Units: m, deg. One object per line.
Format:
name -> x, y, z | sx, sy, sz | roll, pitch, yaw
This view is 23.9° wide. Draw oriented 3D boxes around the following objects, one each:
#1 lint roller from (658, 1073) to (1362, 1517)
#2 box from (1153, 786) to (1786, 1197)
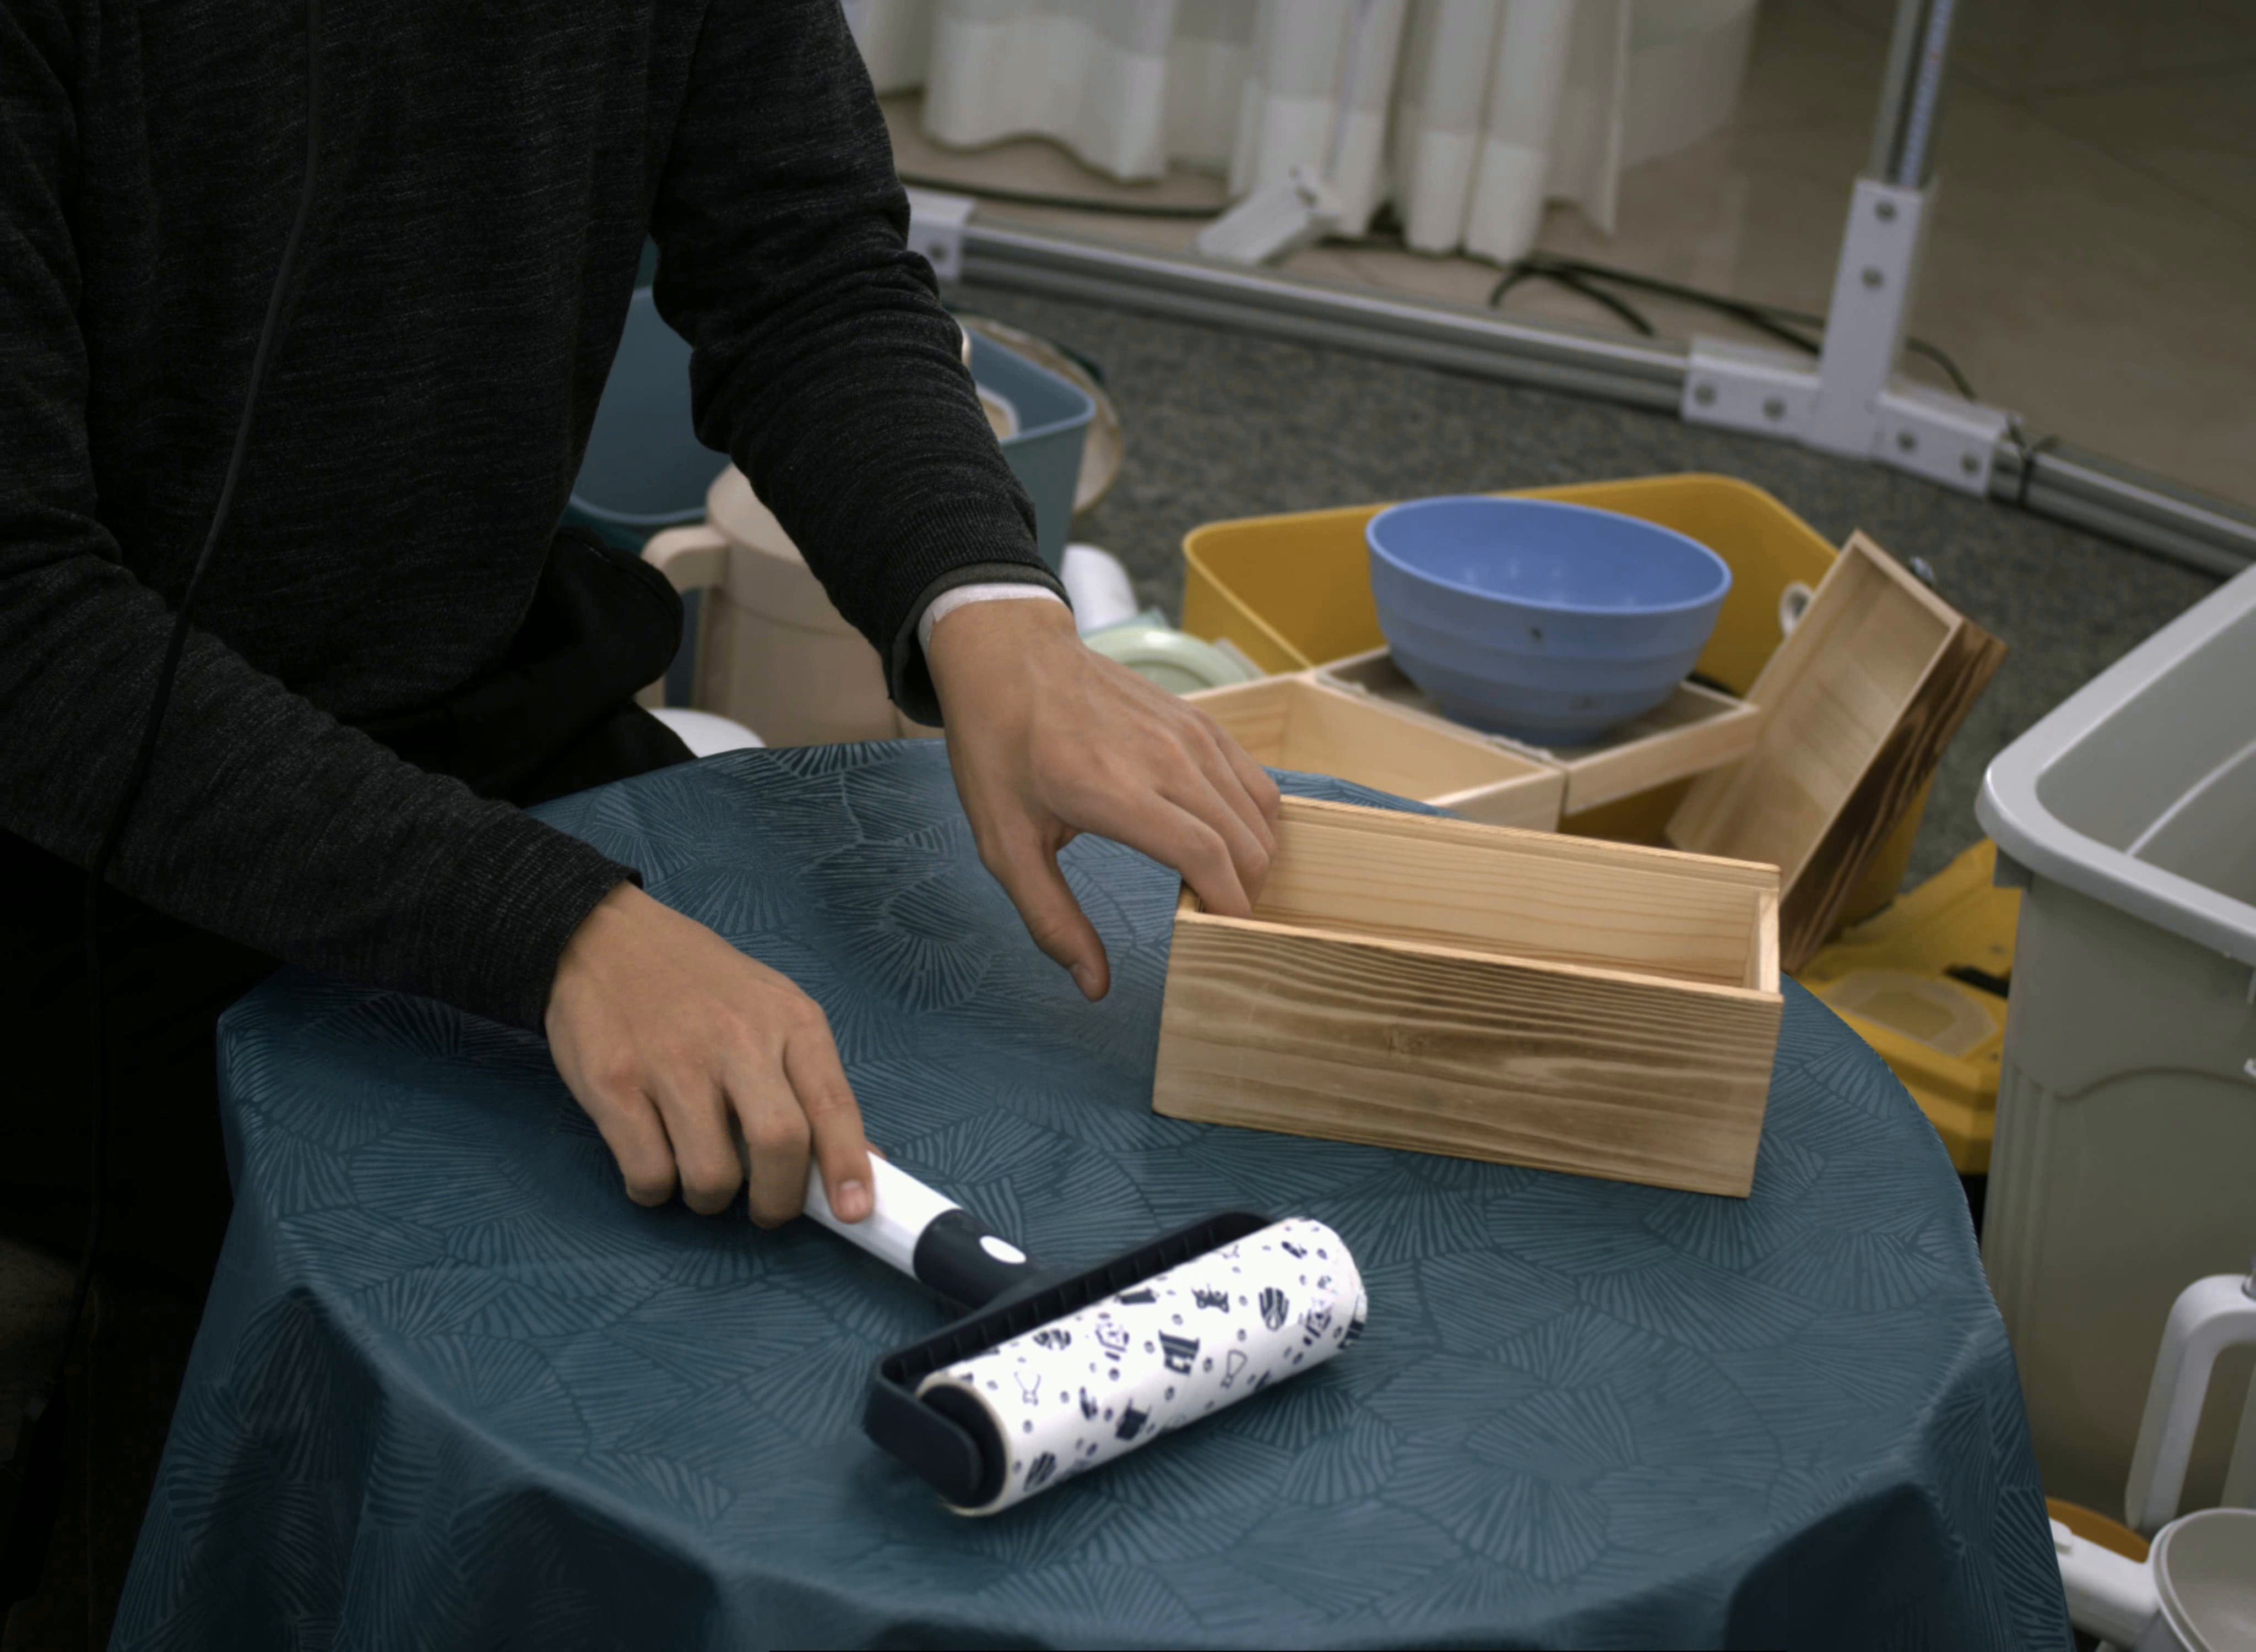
lint roller -> -0.068, 0.131, 1.724 | 0.175, 0.050, 0.249 | -21, 37, -41
box -> 0.121, 0.057, 1.872 | 0.211, 0.080, 0.108 | 8, 26, 3
